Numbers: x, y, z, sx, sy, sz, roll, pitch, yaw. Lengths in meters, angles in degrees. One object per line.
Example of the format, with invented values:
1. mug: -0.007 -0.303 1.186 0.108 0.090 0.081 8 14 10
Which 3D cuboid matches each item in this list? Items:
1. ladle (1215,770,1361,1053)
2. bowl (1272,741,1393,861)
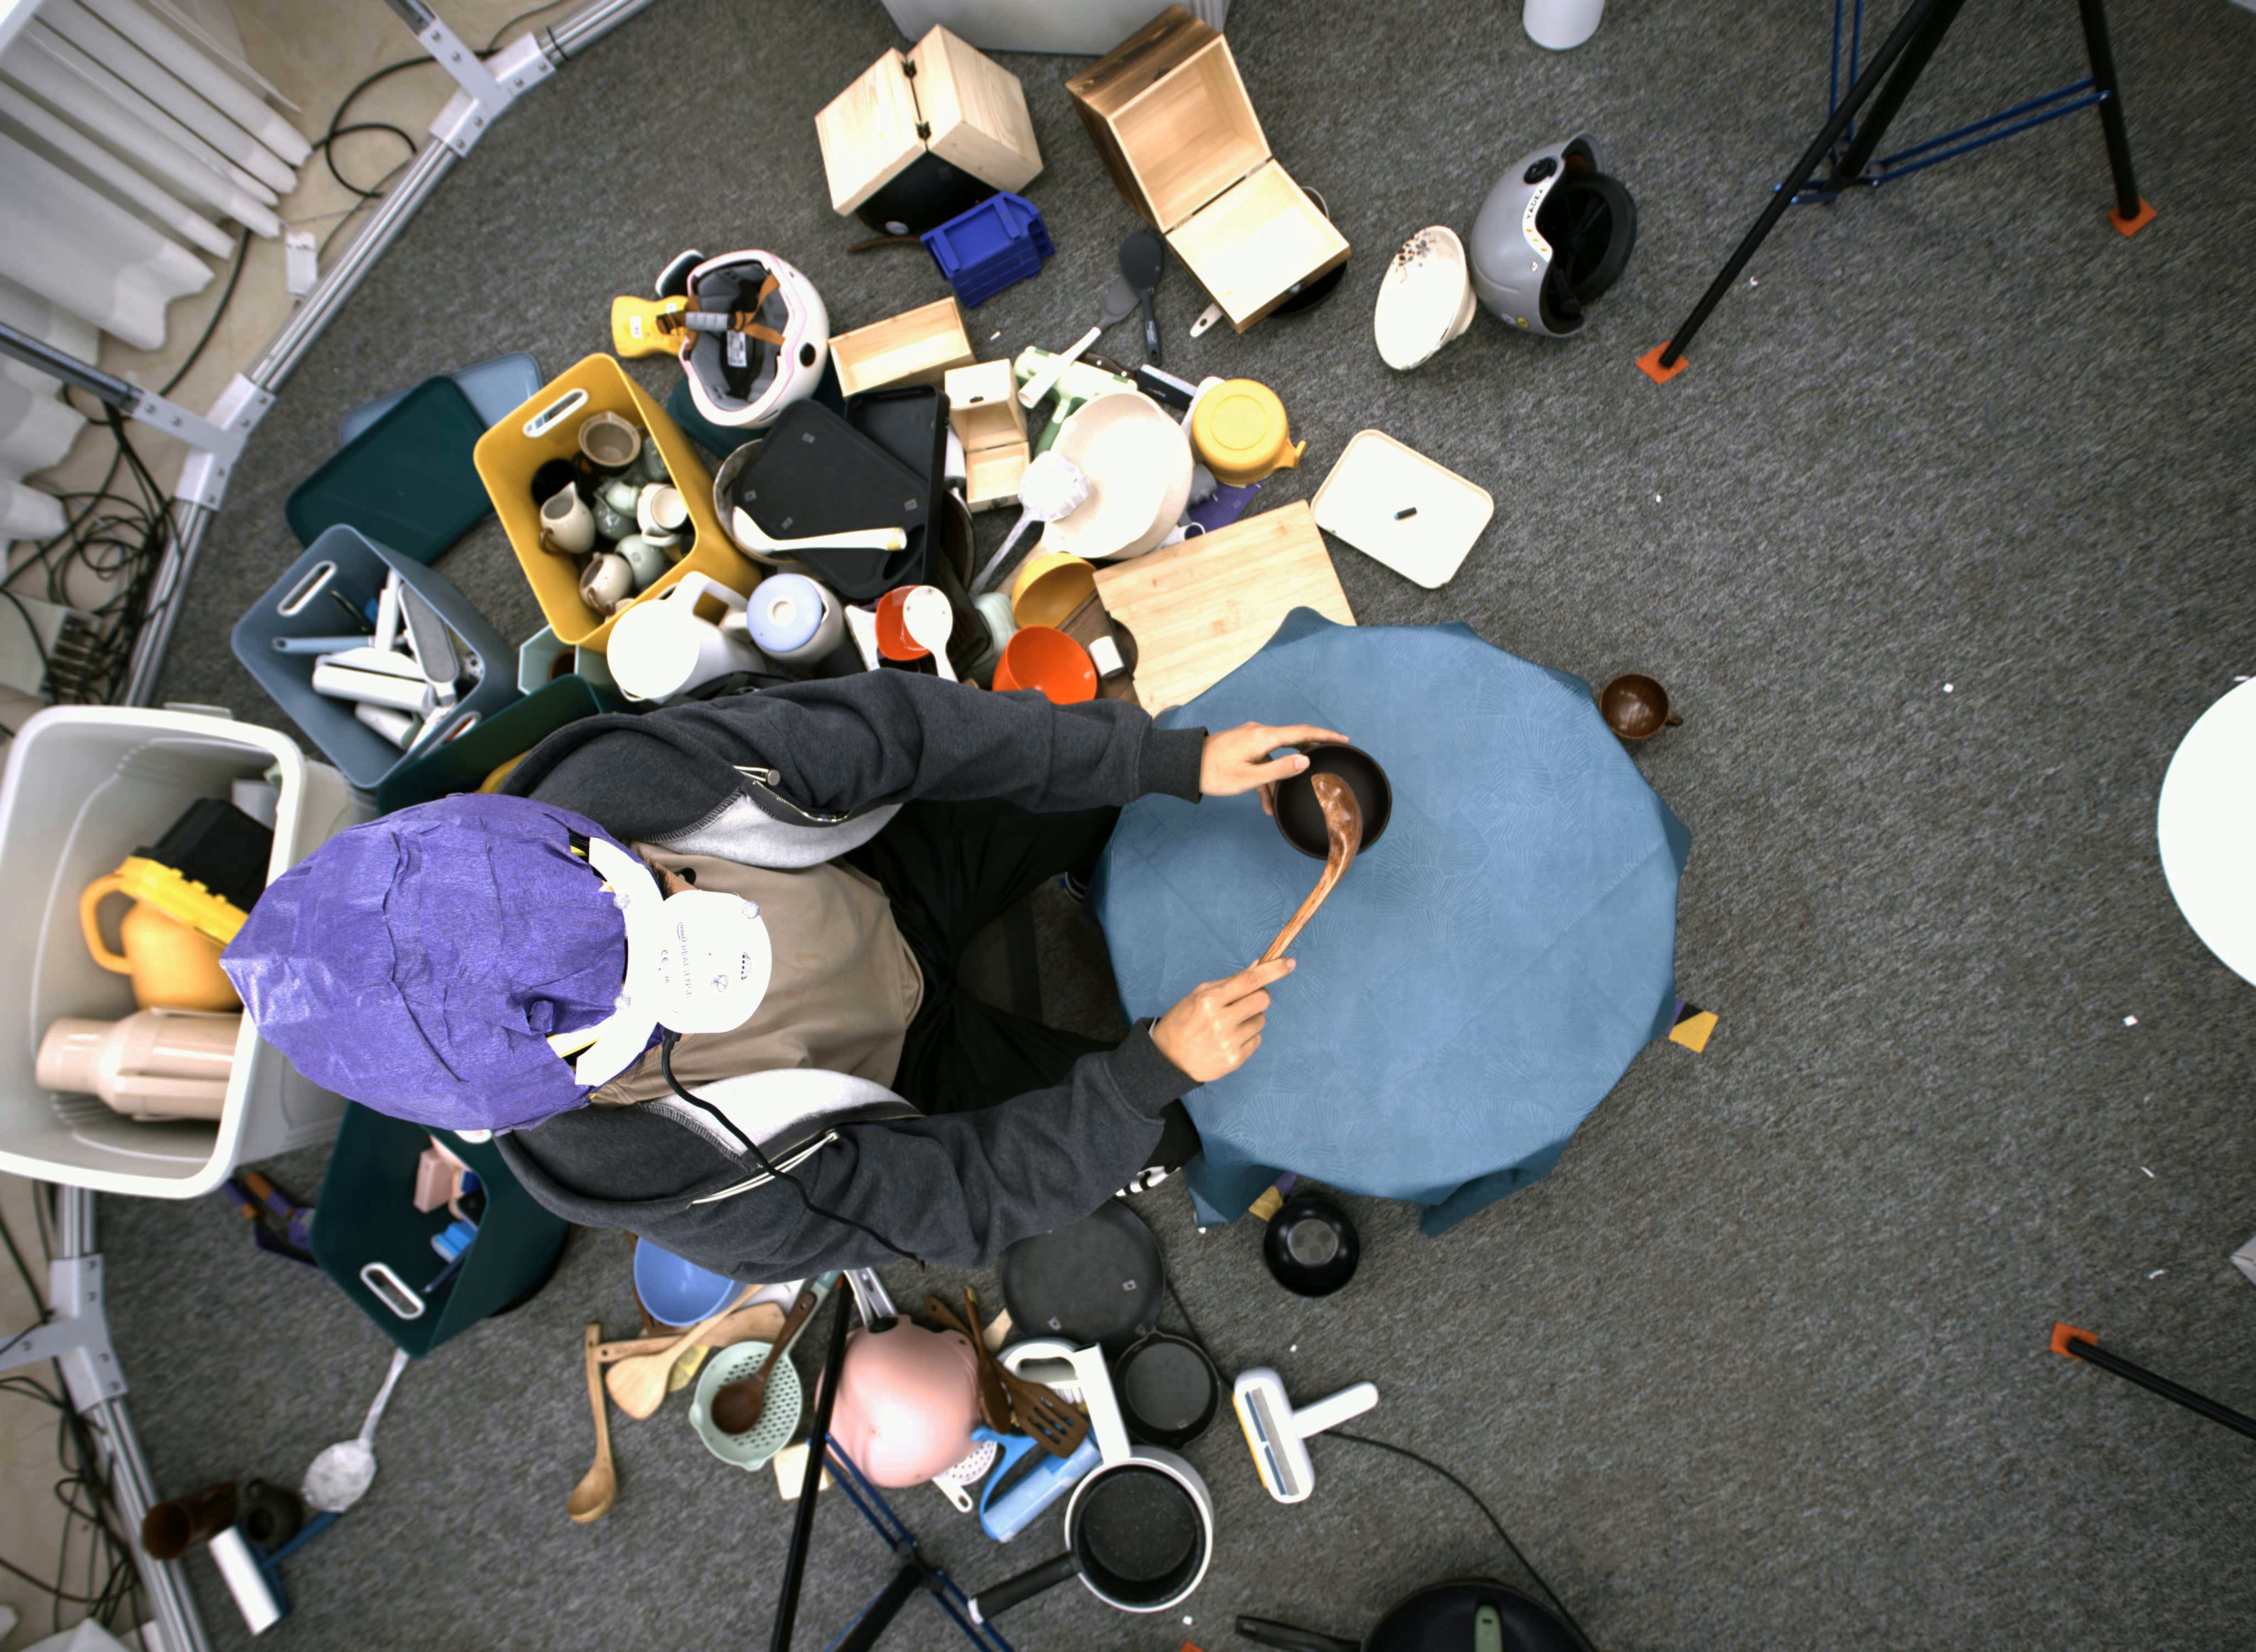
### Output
1. ladle: 0.131 0.075 1.277 0.076 0.082 0.276 35 99 19
2. bowl: 0.202 -0.025 1.365 0.118 0.069 0.118 0 92 10
